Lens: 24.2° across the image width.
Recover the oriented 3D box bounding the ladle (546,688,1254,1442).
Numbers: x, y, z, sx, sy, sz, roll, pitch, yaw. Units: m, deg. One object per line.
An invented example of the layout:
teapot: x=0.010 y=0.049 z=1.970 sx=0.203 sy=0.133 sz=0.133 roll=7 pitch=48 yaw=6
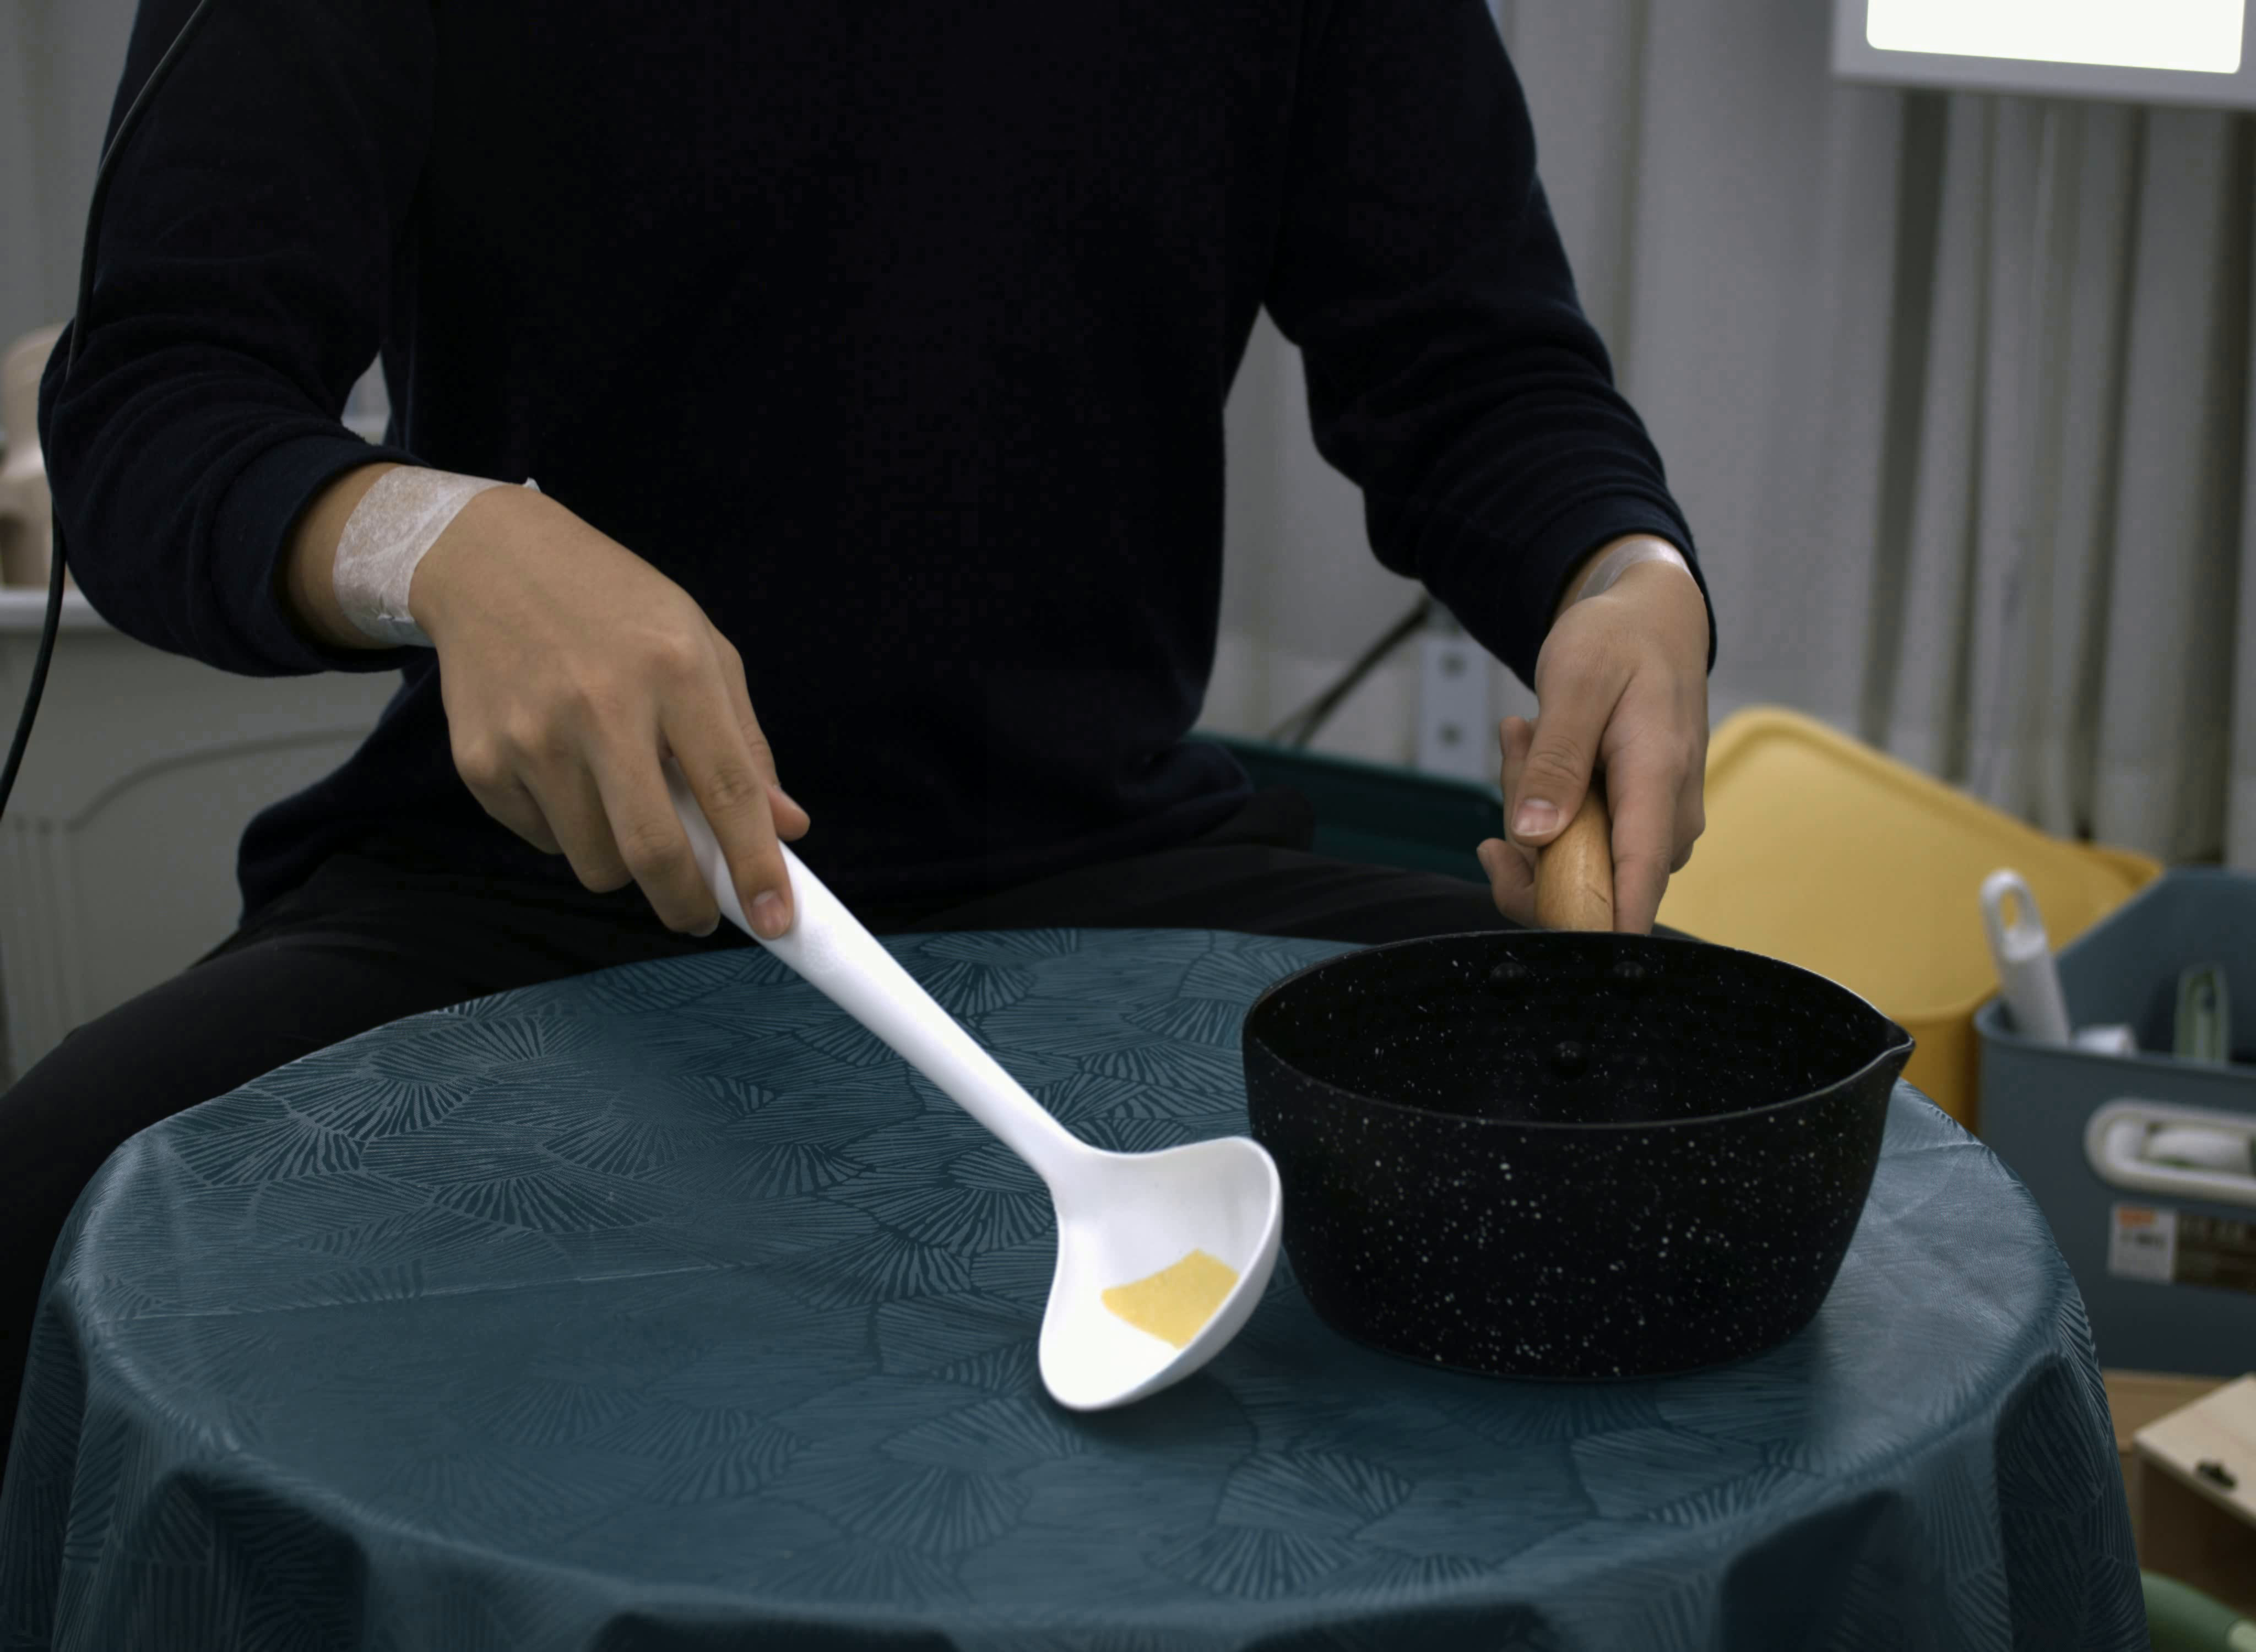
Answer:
ladle: x=-0.072 y=0.059 z=1.497 sx=0.290 sy=0.090 sz=0.070 roll=43 pitch=11 yaw=22

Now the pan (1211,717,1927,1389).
pan: x=0.132 y=0.063 z=1.600 sx=0.206 sy=0.109 sz=0.341 roll=1 pitch=17 yaw=4
